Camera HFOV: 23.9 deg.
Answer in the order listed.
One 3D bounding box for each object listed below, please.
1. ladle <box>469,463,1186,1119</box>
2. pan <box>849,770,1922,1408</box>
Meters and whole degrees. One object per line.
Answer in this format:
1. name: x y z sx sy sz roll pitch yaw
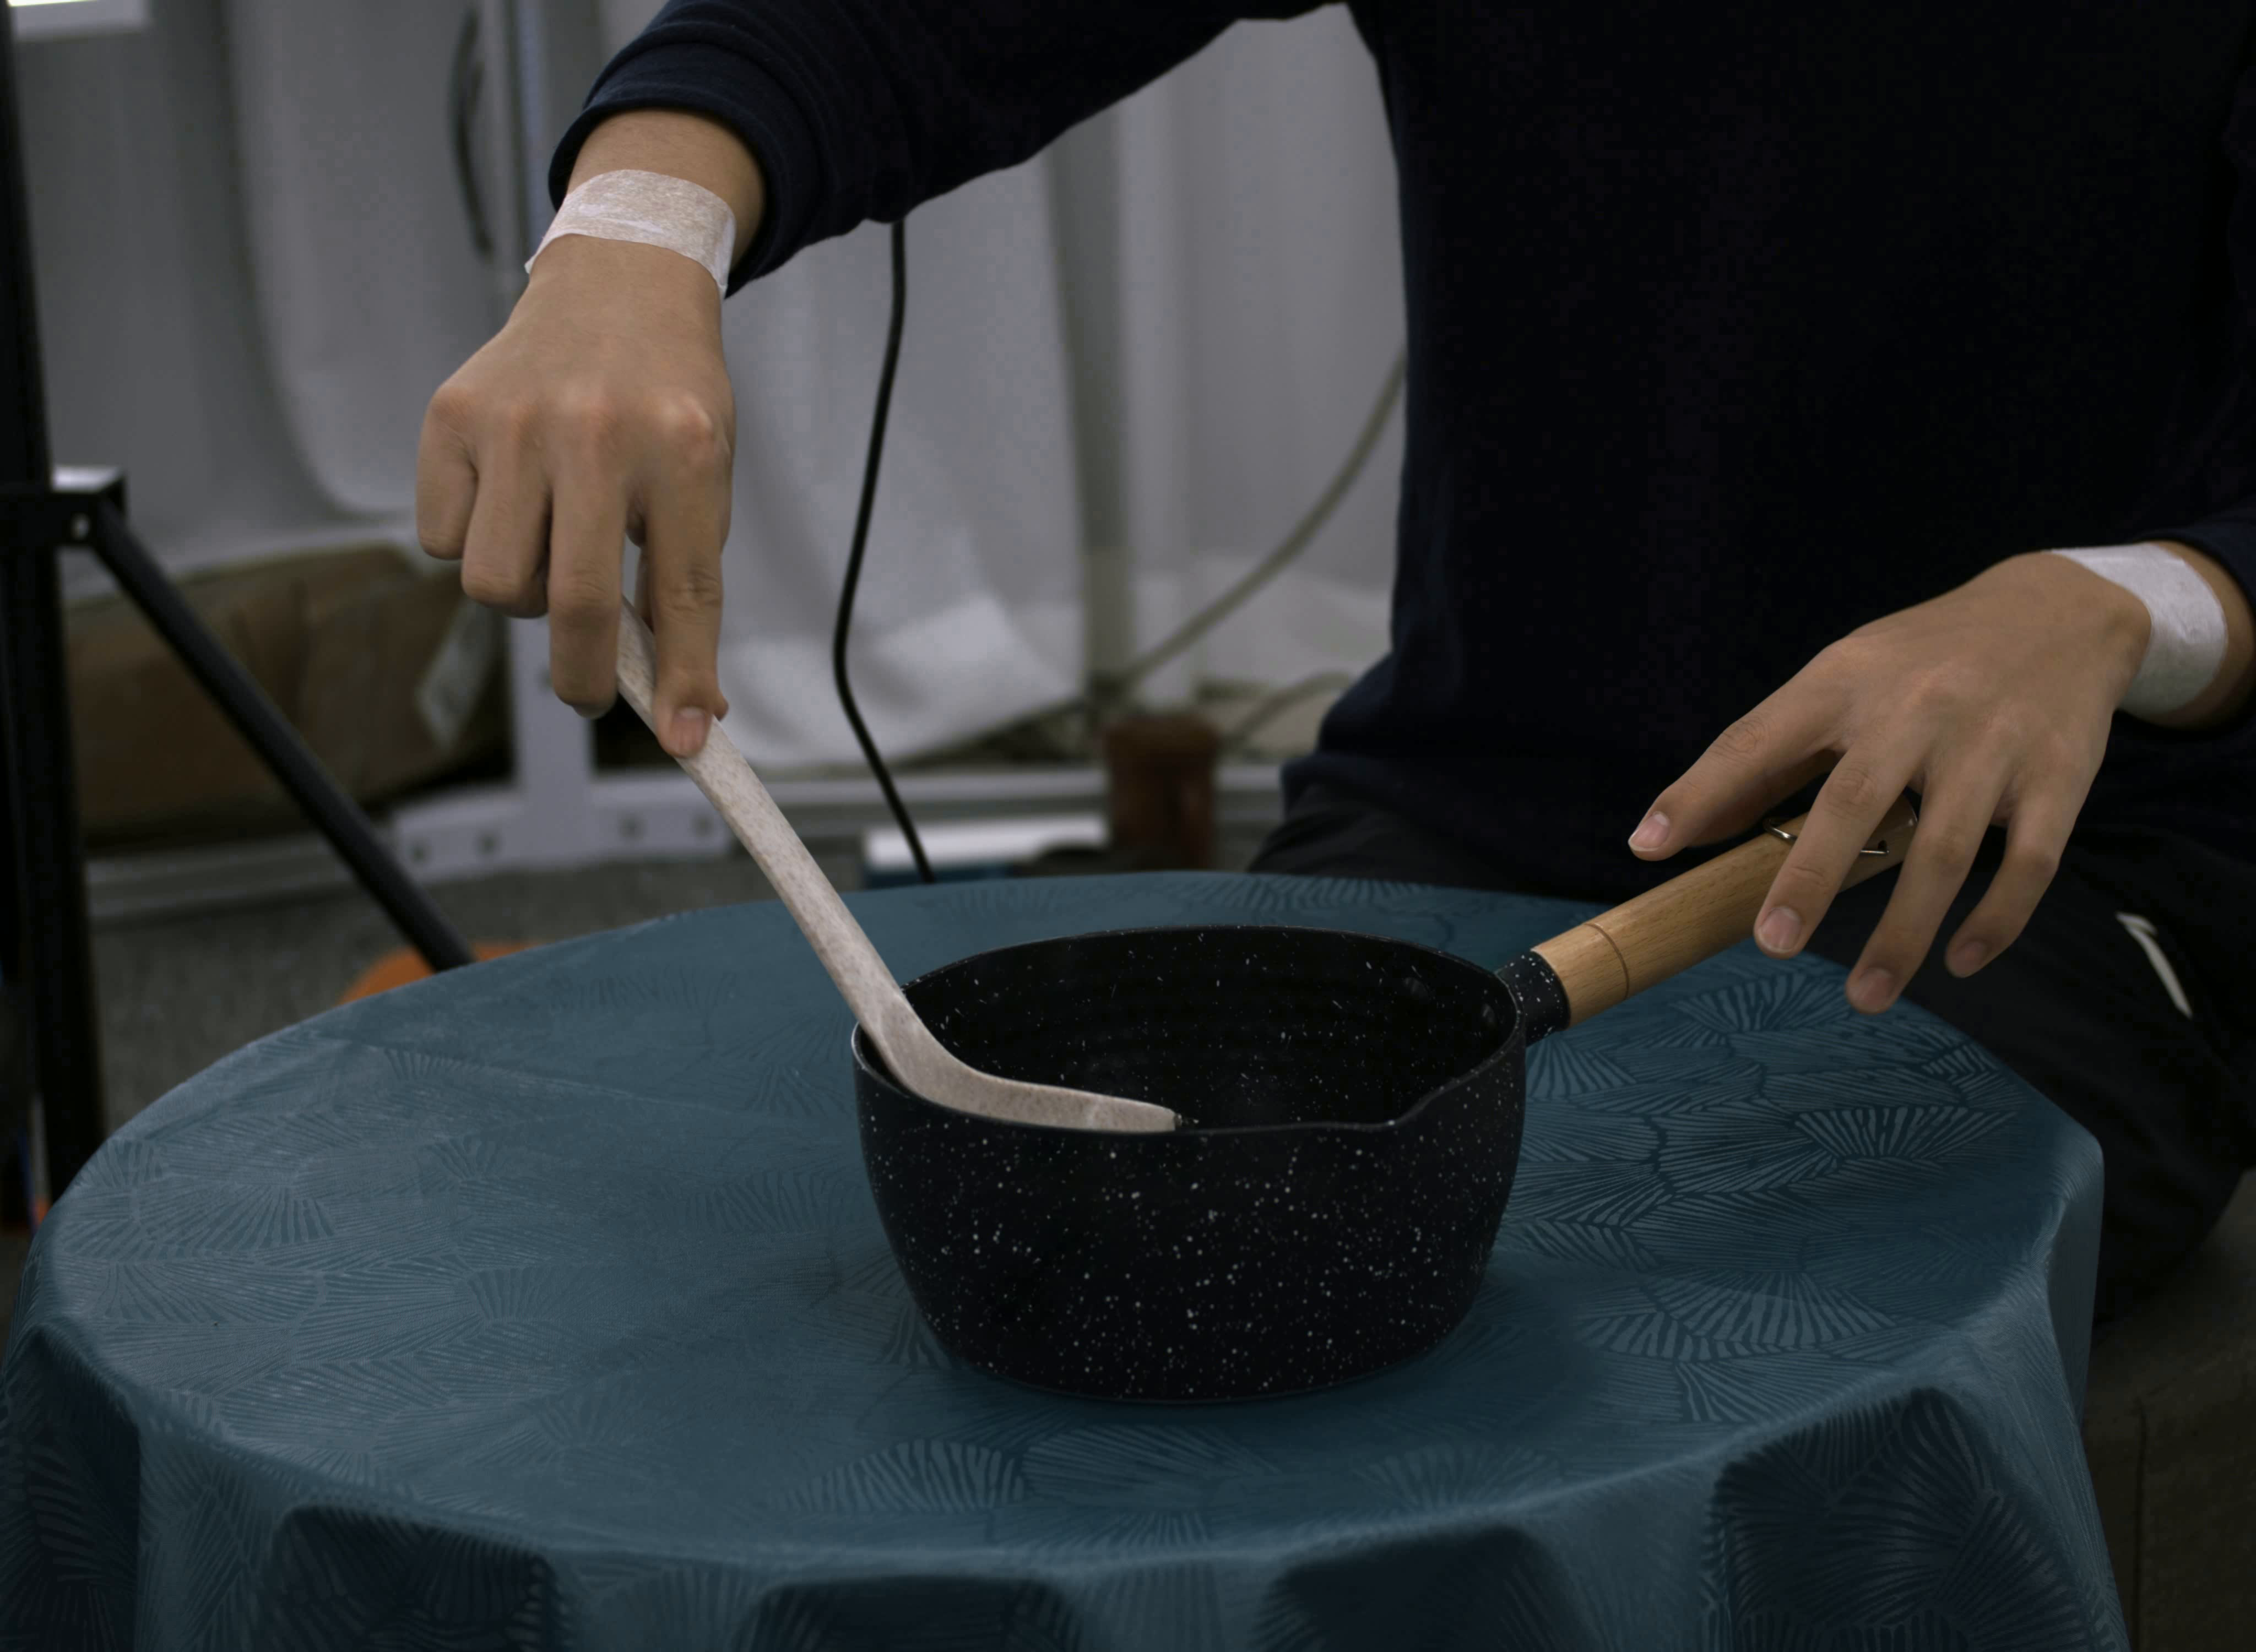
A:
1. ladle: -0.080 0.001 1.449 0.070 0.276 0.088 -36 -3 37
2. pan: 0.084 0.068 1.487 0.335 0.108 0.212 -13 18 -29
